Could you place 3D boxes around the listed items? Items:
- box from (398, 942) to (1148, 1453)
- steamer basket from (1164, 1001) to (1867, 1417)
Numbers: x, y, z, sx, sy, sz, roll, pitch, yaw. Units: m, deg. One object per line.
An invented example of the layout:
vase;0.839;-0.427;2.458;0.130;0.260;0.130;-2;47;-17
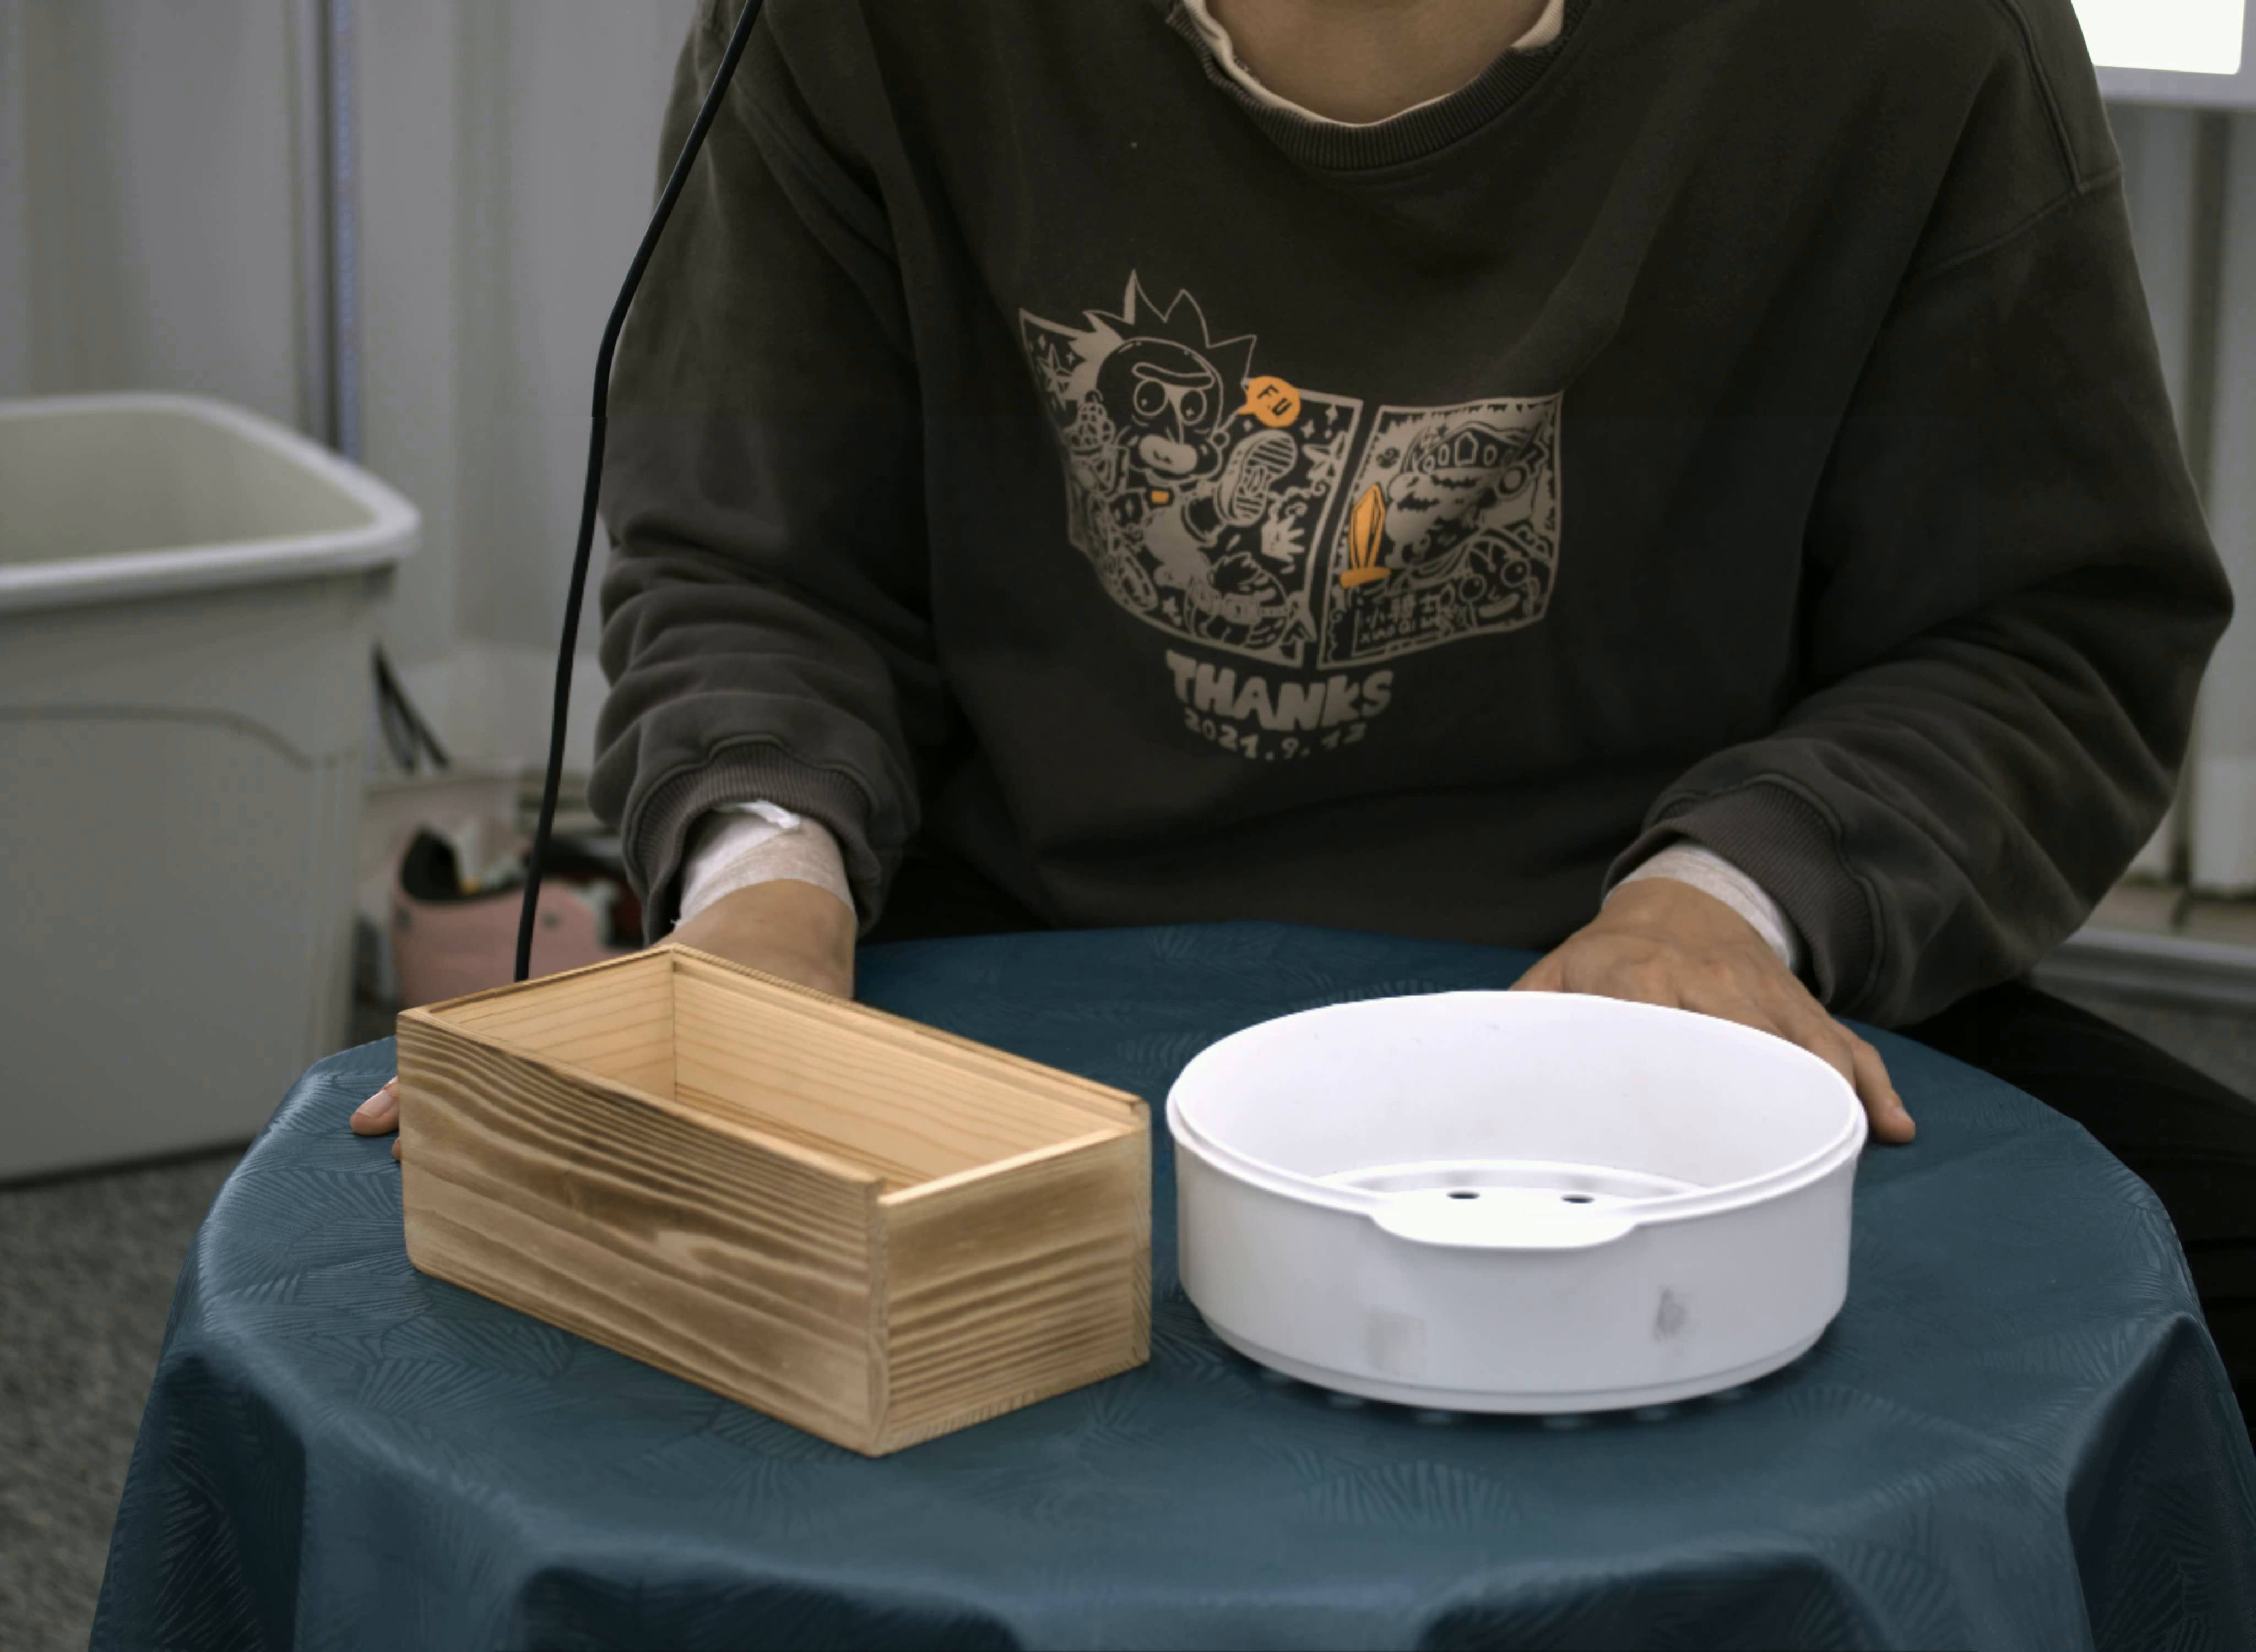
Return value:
box;-0.105;0.102;1.513;0.108;0.081;0.208;-14;21;-43
steamer basket;0.110;0.109;1.518;0.201;0.070;0.230;2;15;5
